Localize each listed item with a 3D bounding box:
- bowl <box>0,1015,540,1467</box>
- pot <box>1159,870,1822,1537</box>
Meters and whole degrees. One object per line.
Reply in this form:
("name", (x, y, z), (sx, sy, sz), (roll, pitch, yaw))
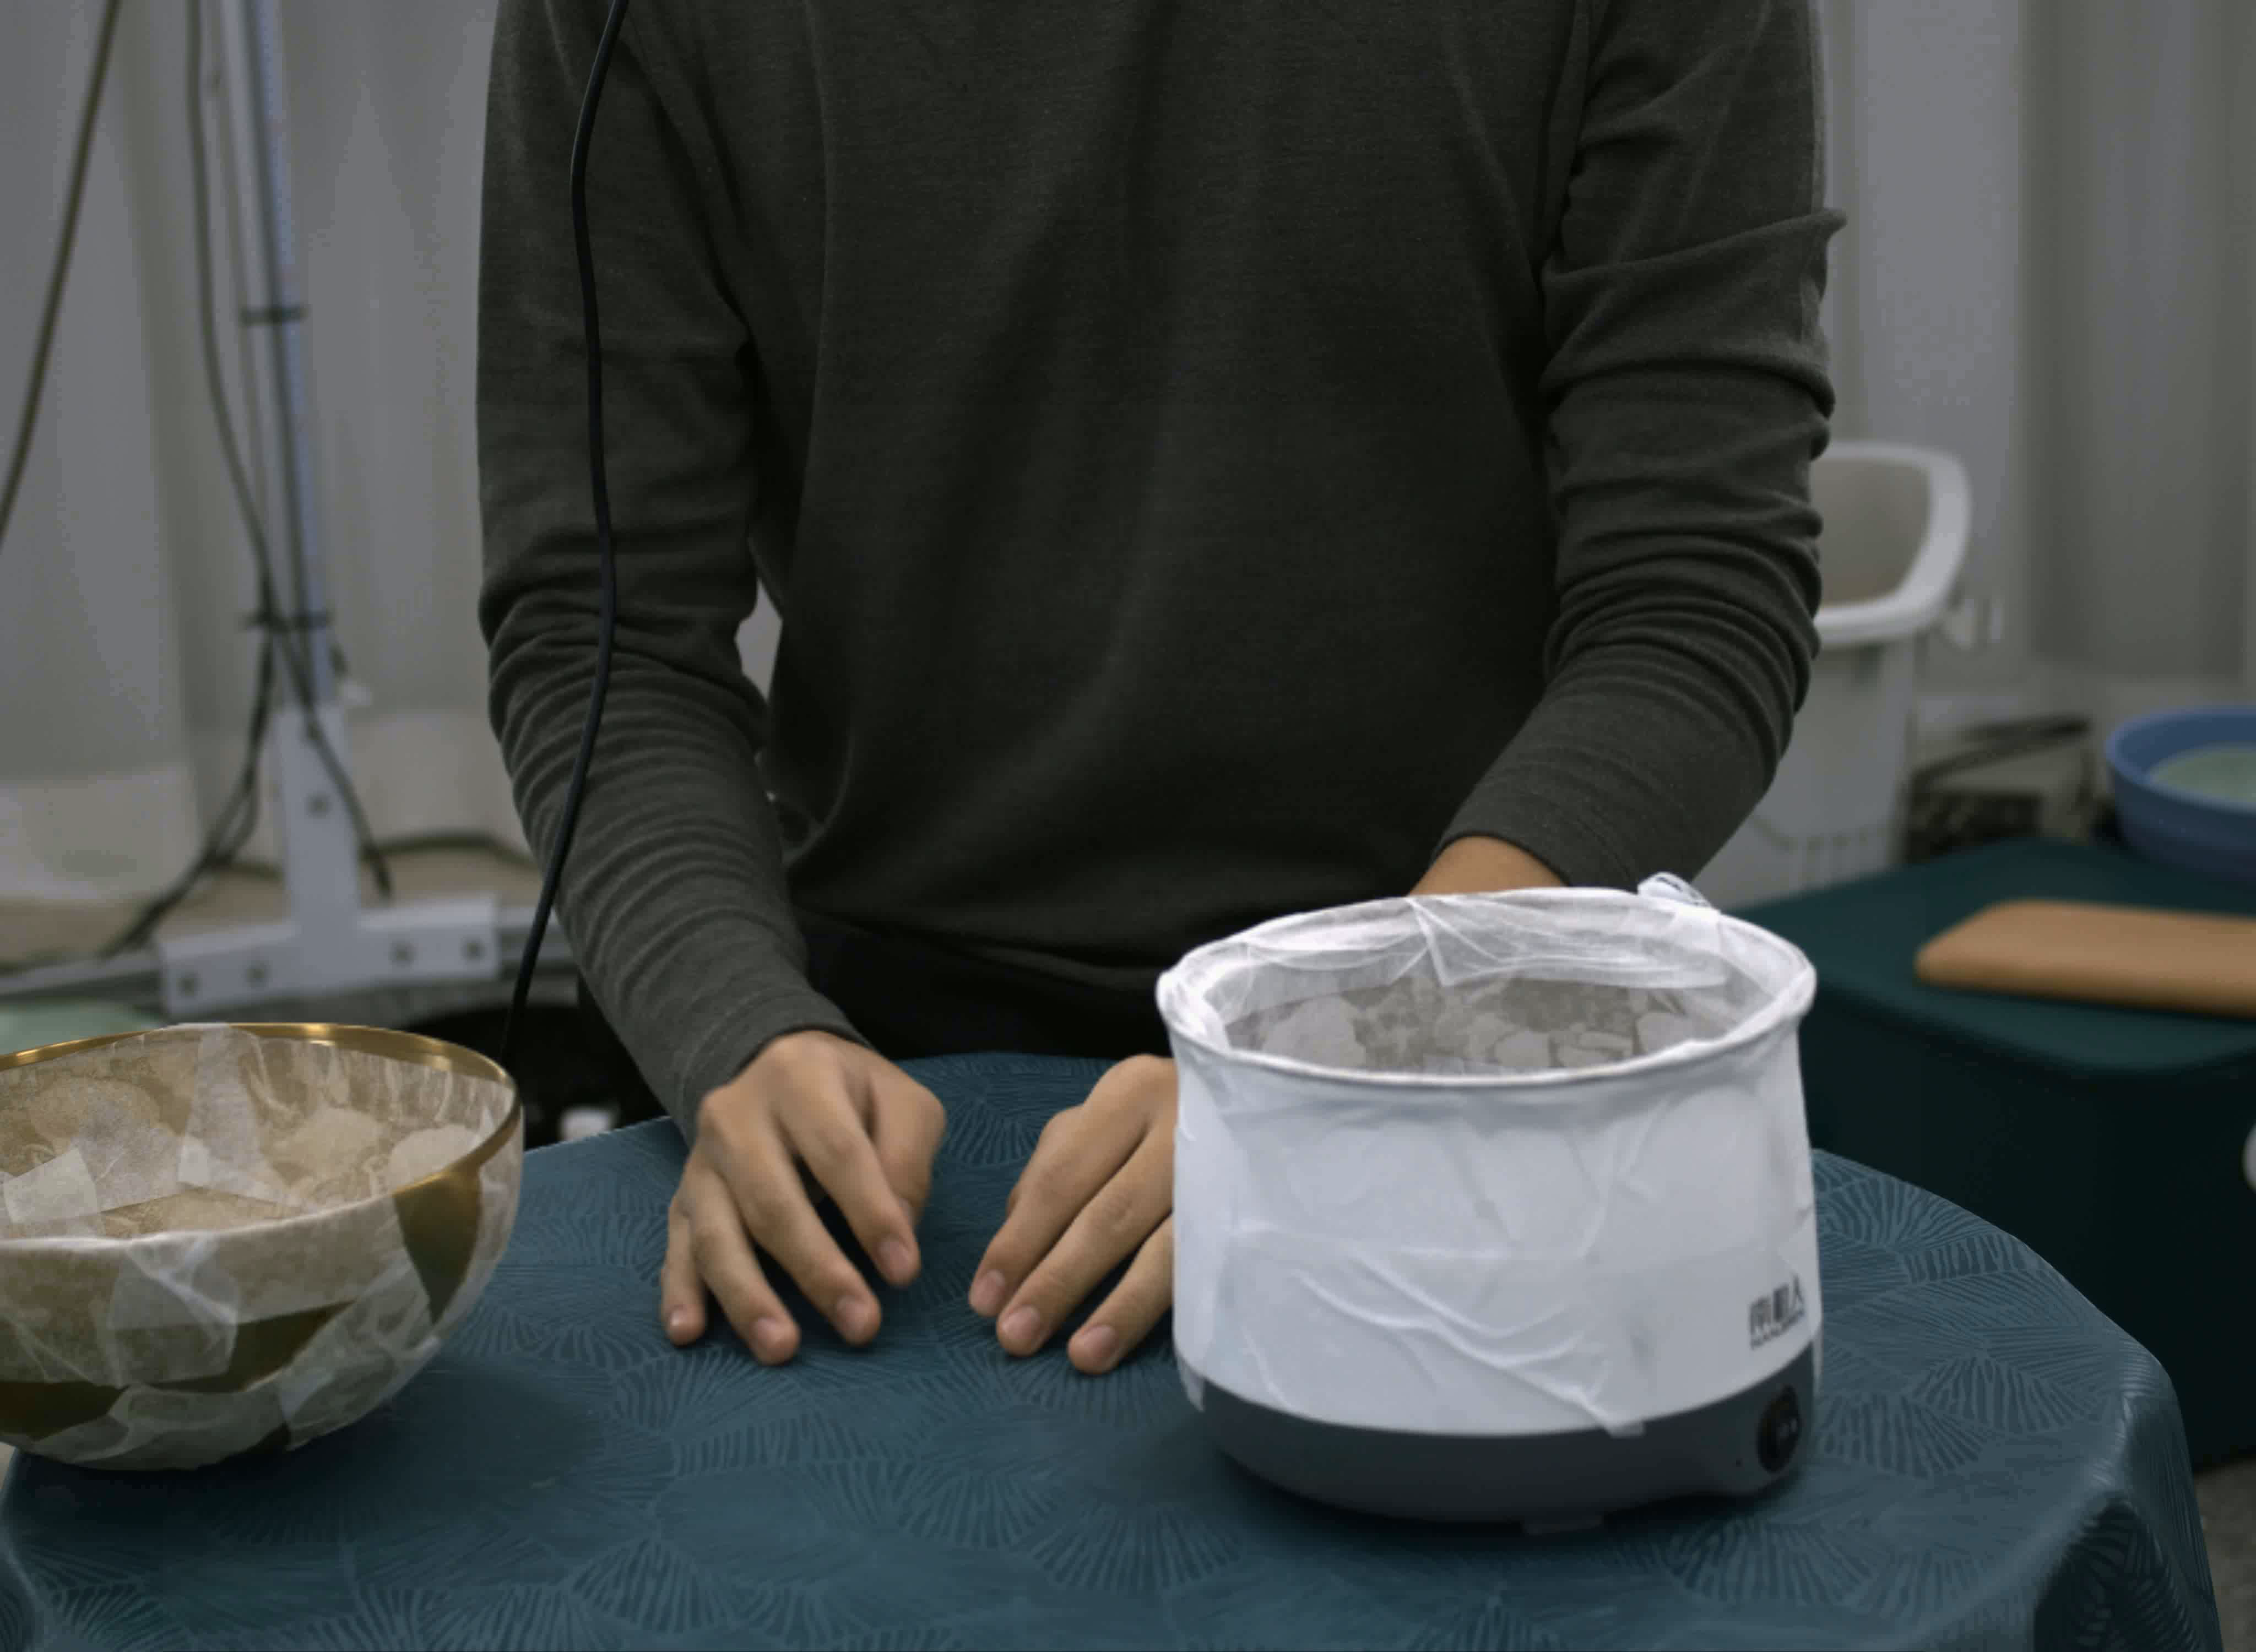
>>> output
("bowl", (-0.264, 0.126, 1.546), (0.214, 0.094, 0.216), (-4, 13, 1))
("pot", (0.114, 0.096, 1.502), (0.179, 0.136, 0.234), (7, 17, 33))
